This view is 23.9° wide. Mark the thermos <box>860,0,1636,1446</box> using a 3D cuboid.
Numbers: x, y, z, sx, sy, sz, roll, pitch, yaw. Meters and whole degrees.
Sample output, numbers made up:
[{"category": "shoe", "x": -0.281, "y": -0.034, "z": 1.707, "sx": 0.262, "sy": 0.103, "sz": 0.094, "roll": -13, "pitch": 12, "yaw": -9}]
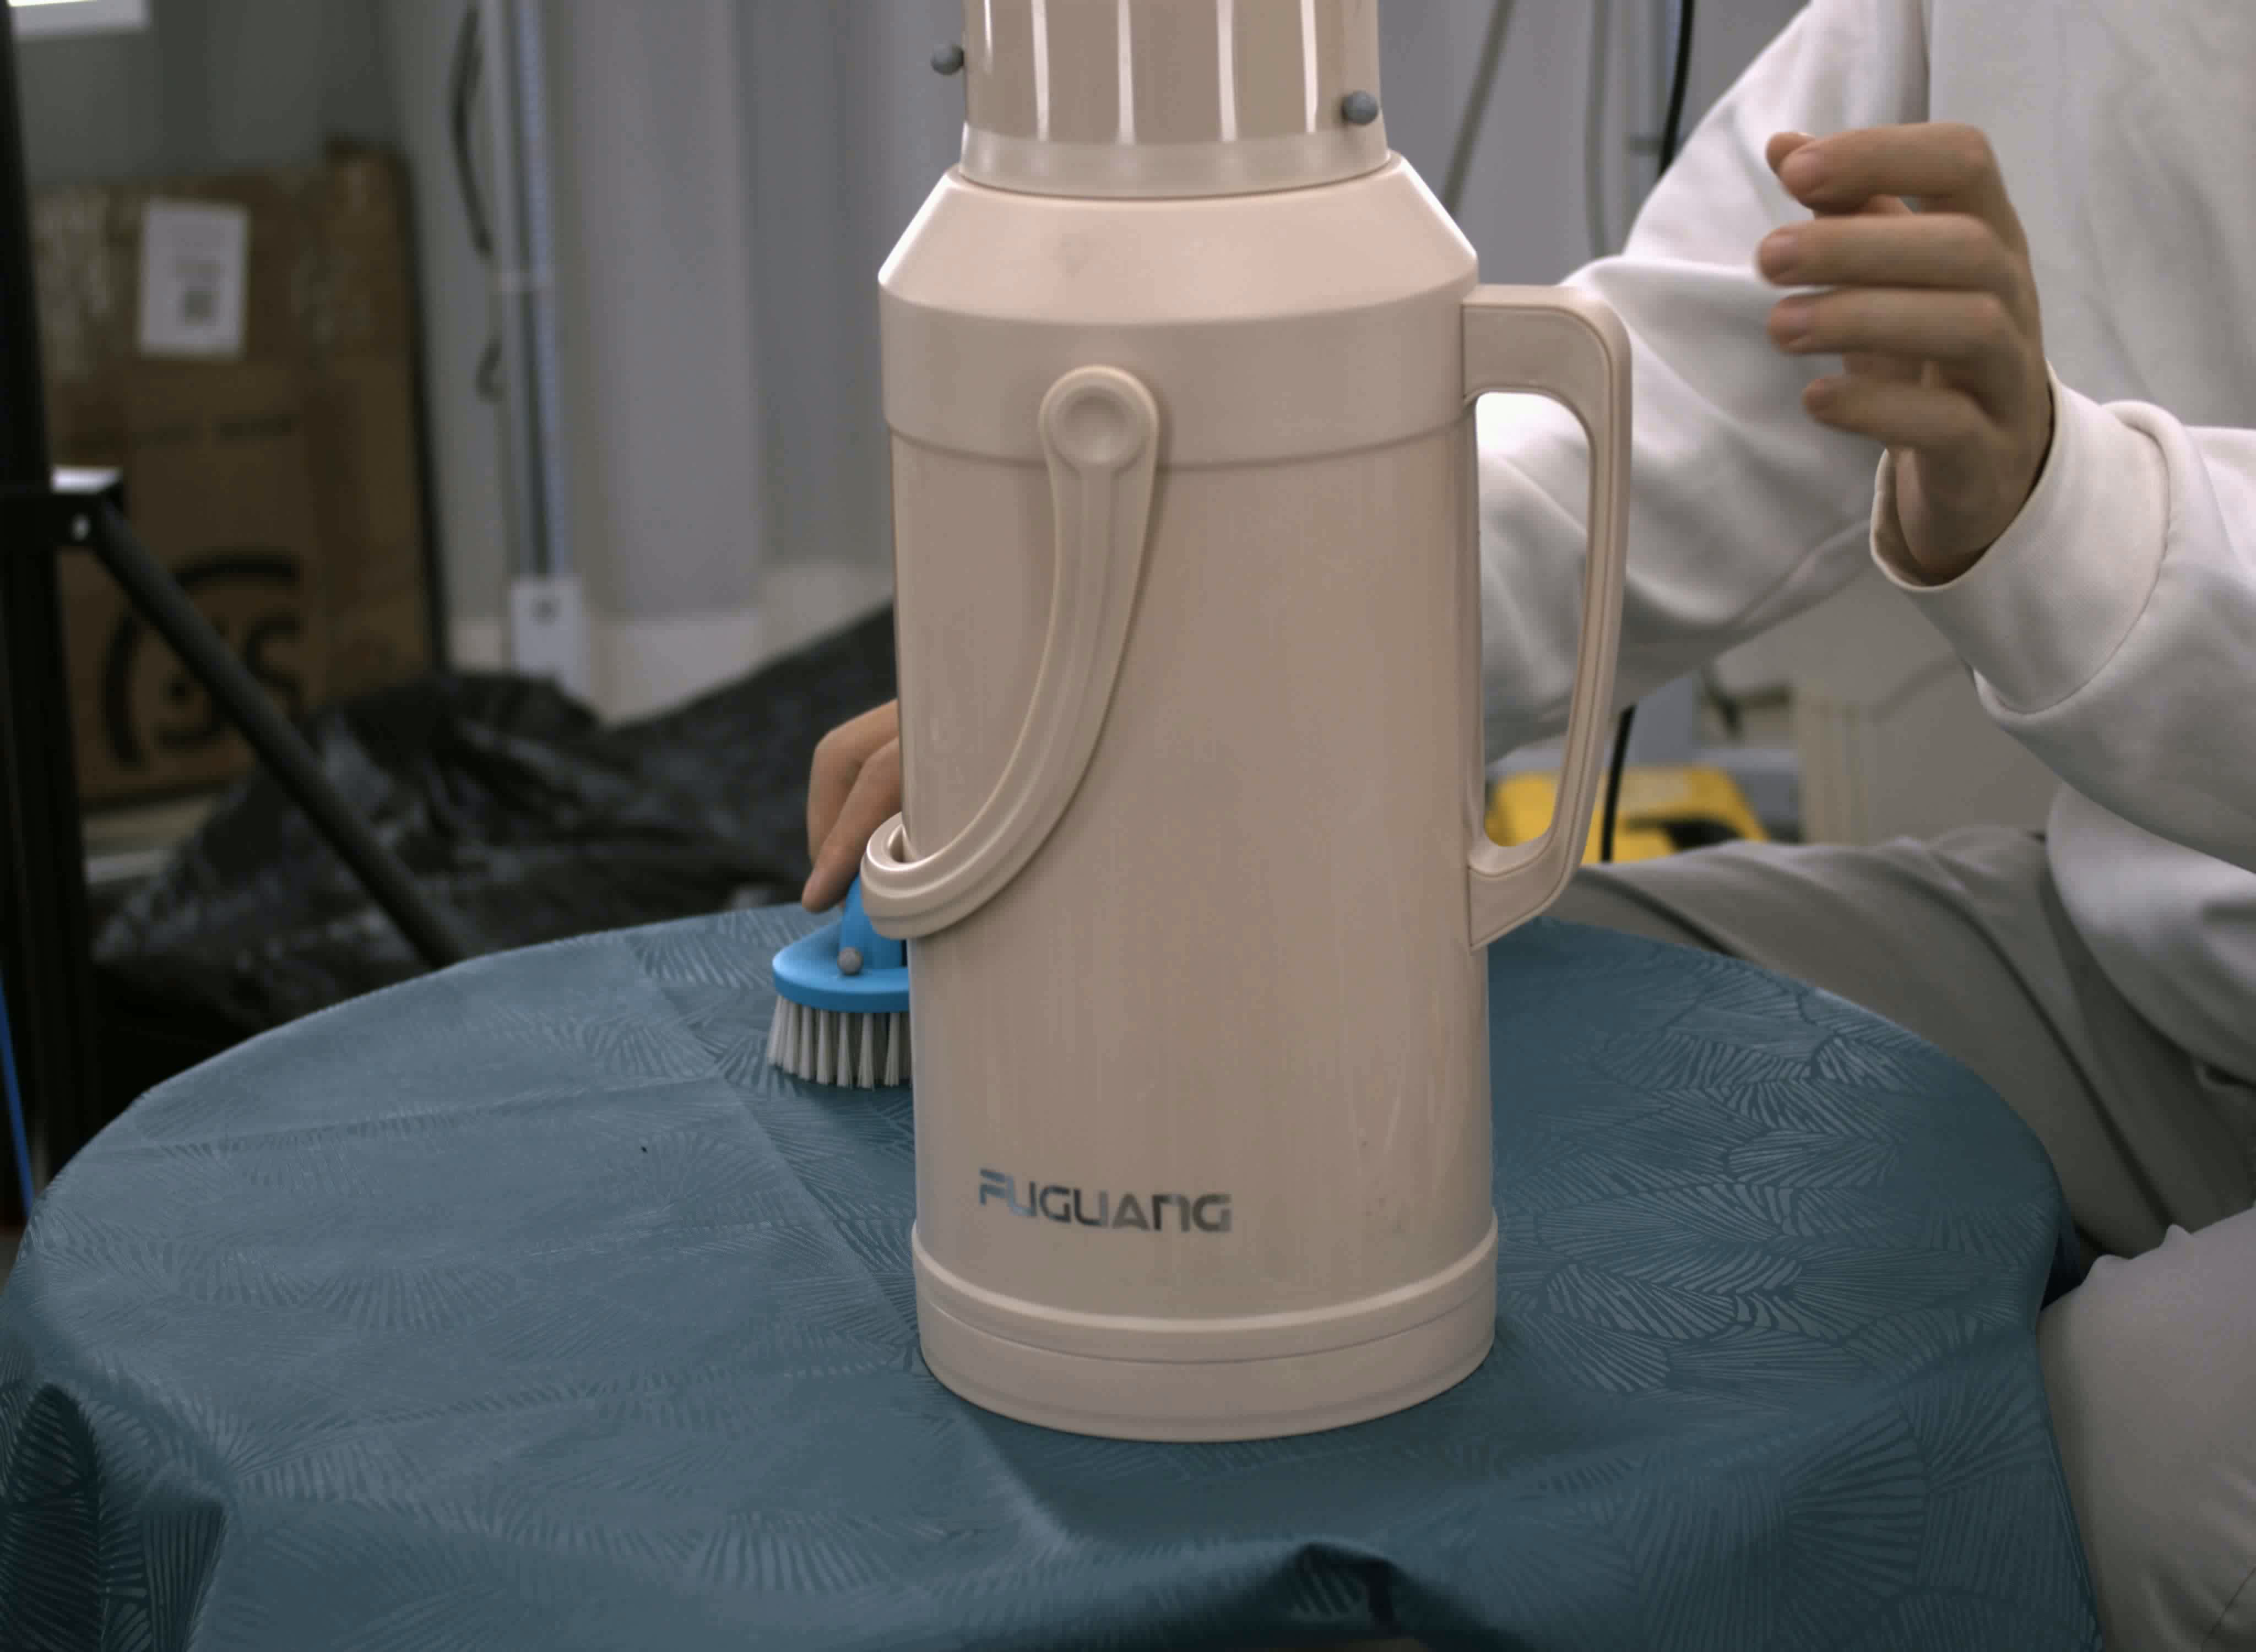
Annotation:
[{"category": "thermos", "x": 0.029, "y": -0.051, "z": 1.391, "sx": 0.208, "sy": 0.406, "sz": 0.174, "roll": 2, "pitch": 14, "yaw": 15}]

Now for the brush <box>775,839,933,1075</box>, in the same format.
[{"category": "brush", "x": -0.059, "y": 0.031, "z": 1.715, "sx": 0.086, "sy": 0.064, "sz": 0.139, "roll": 2, "pitch": 16, "yaw": 30}]
